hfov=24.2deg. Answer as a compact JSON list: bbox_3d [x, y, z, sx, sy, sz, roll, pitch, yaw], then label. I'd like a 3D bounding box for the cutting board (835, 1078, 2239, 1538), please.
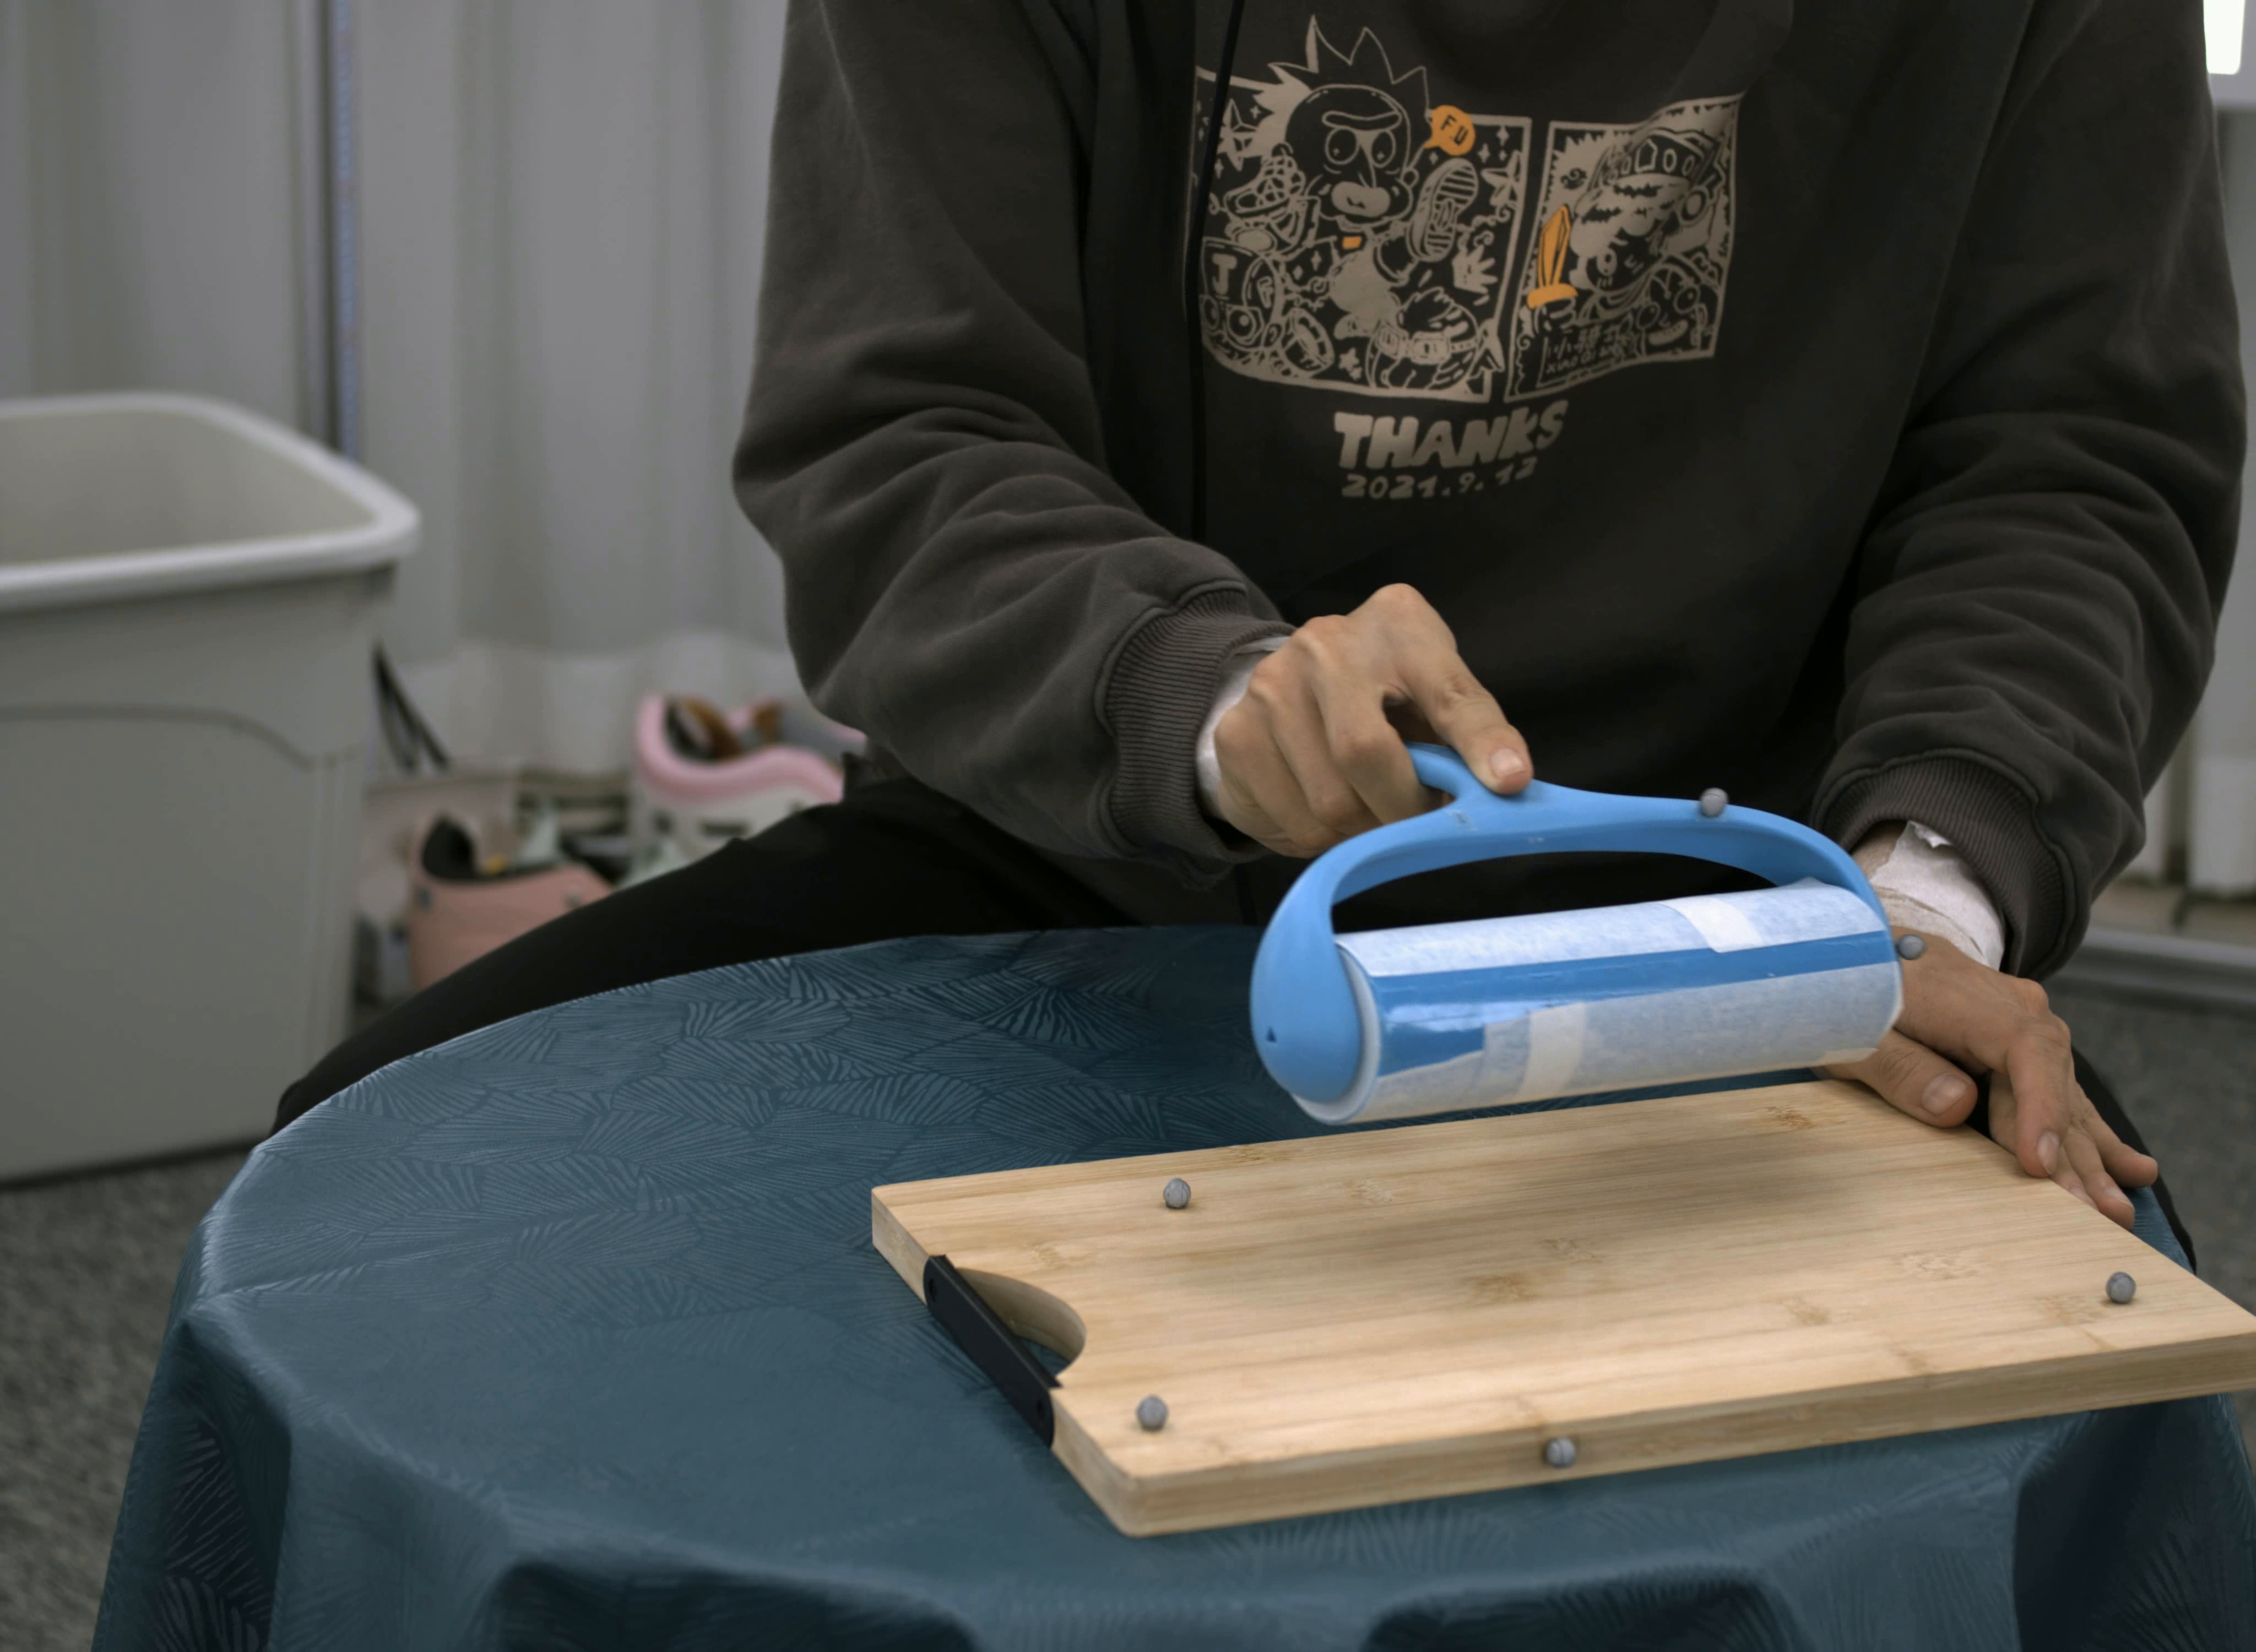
[{"bbox_3d":[0.114,0.134,1.528,0.349,0.024,0.248,-5,16,-20],"label":"cutting board"}]

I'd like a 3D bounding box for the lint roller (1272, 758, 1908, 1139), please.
[{"bbox_3d":[0.106,0.018,1.565,0.230,0.068,0.178,-8,41,-37],"label":"lint roller"}]
